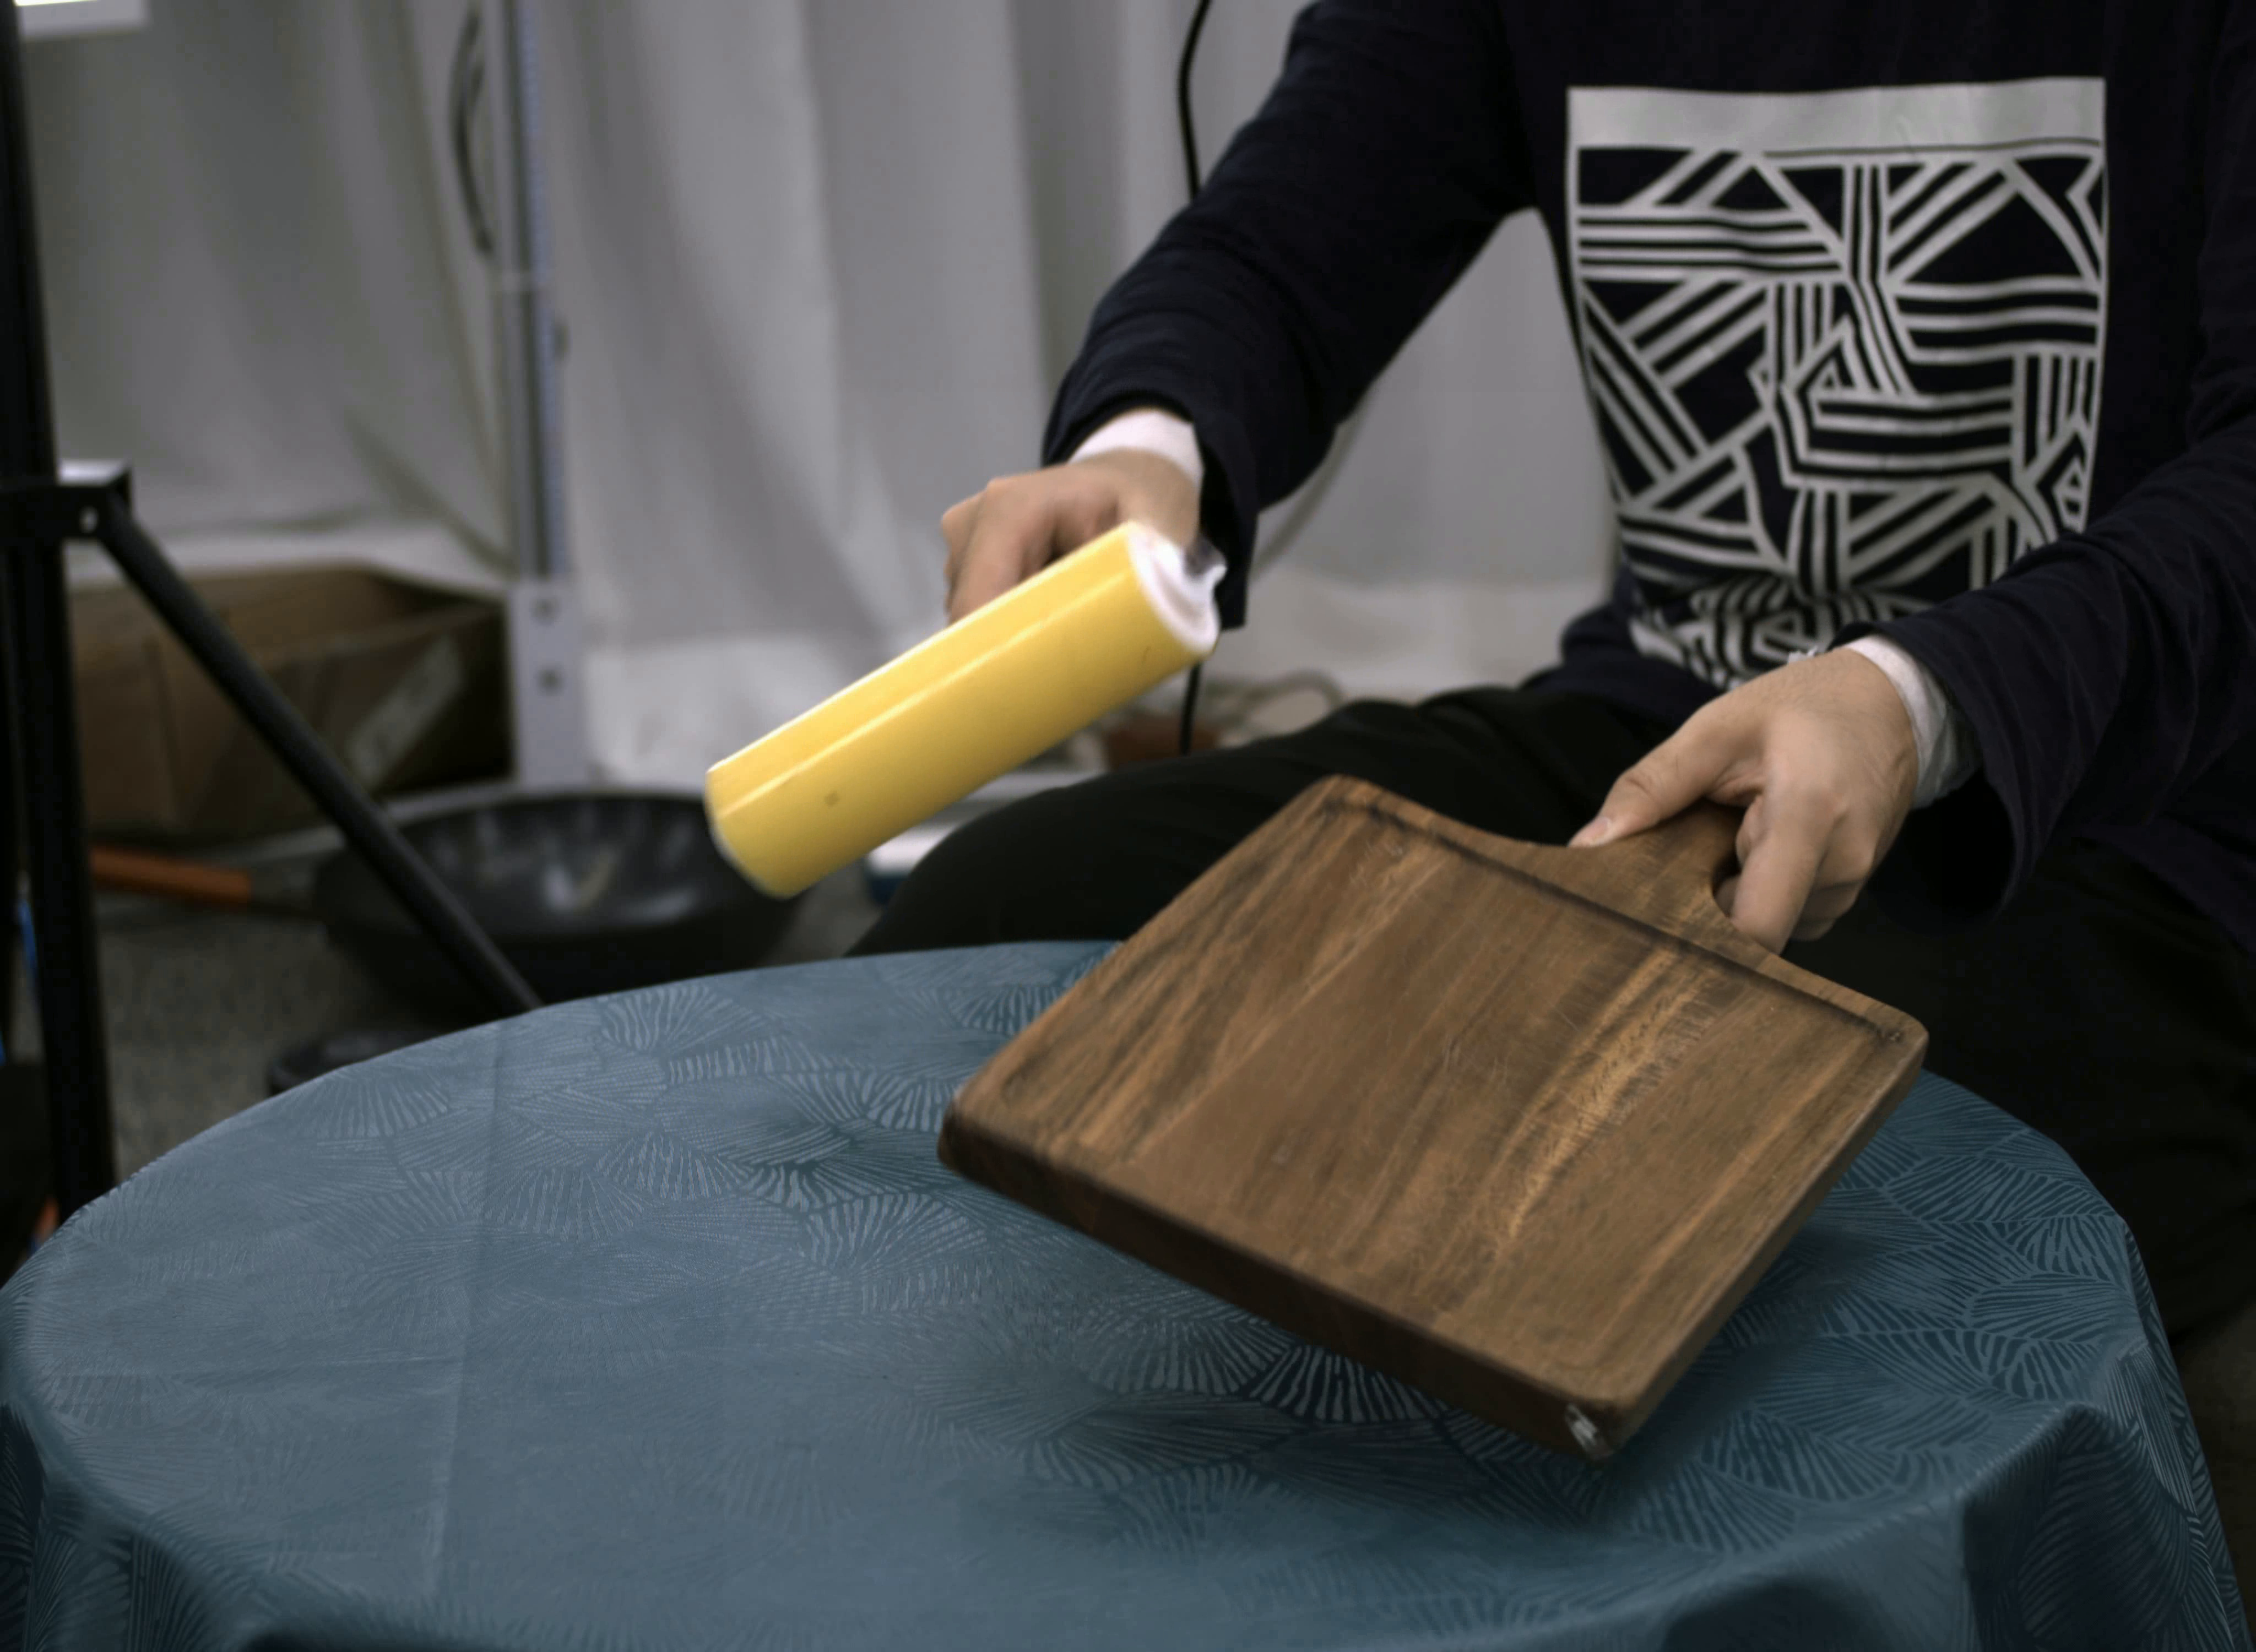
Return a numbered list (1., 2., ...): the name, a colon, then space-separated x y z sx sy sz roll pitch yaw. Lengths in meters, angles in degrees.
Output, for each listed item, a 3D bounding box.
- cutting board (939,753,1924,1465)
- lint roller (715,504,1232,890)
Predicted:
1. cutting board: 0.109 0.052 1.465 0.203 0.023 0.347 24 30 18
2. lint roller: -0.037 -0.065 1.680 0.176 0.051 0.192 -31 16 21
